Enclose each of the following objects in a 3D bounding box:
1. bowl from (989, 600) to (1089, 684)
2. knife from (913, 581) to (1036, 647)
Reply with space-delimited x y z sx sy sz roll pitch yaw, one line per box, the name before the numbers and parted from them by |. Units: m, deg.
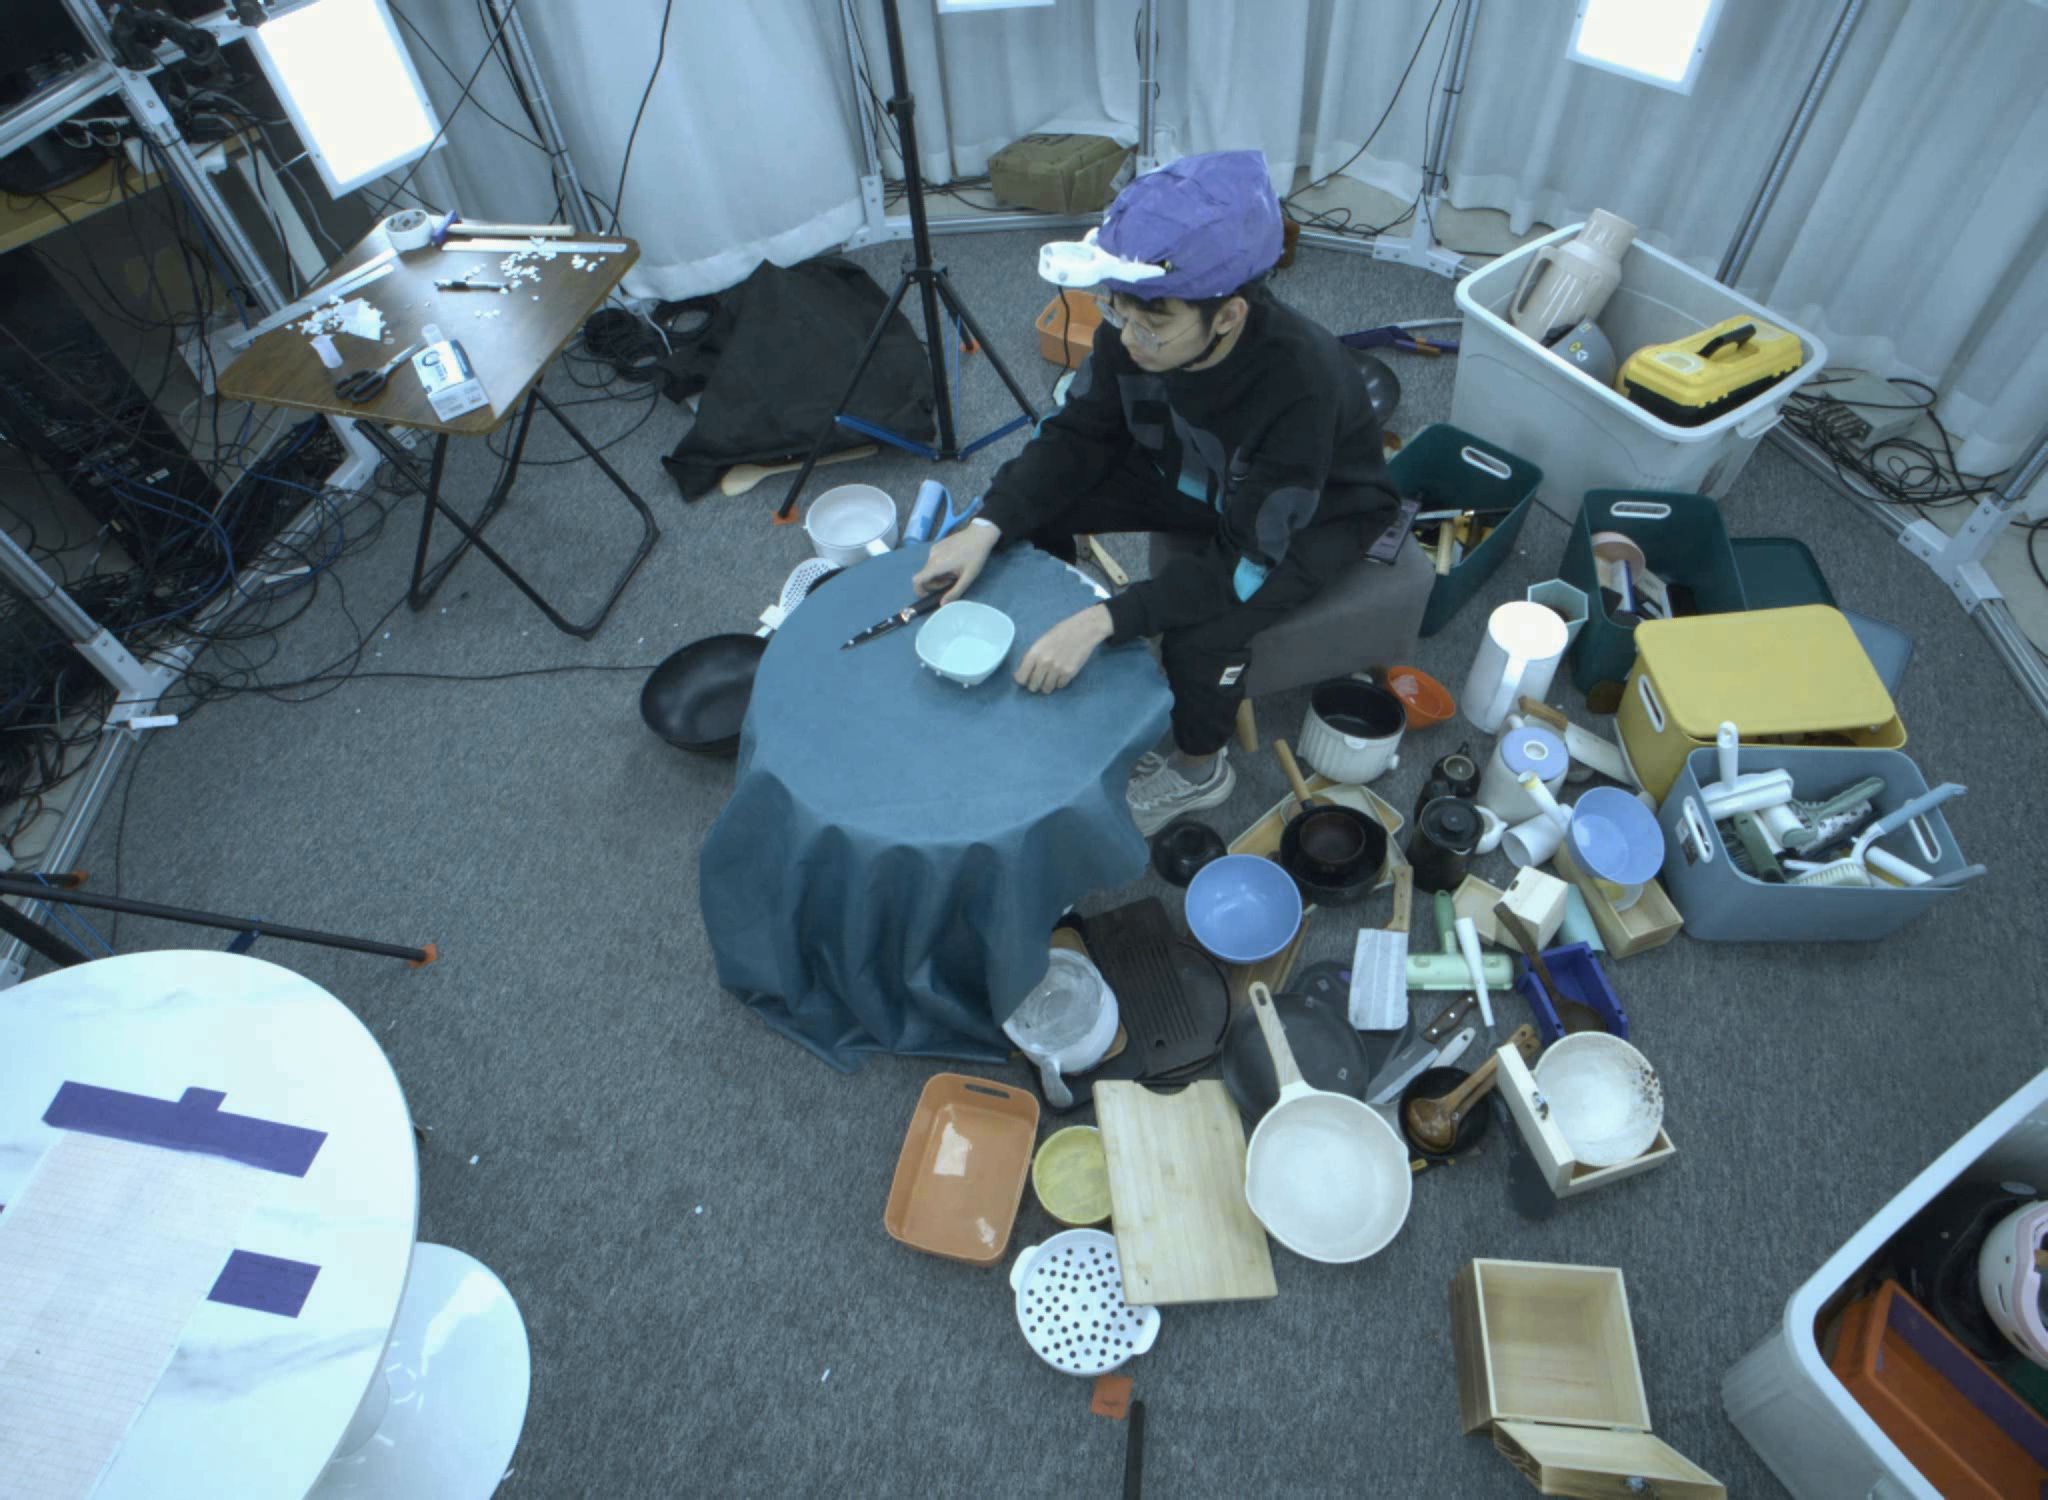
bowl | 0.024 -0.154 1.861 0.151 0.059 0.150 -1 54 3
knife | -0.078 -0.215 1.936 0.227 0.017 0.026 -27 64 -14
